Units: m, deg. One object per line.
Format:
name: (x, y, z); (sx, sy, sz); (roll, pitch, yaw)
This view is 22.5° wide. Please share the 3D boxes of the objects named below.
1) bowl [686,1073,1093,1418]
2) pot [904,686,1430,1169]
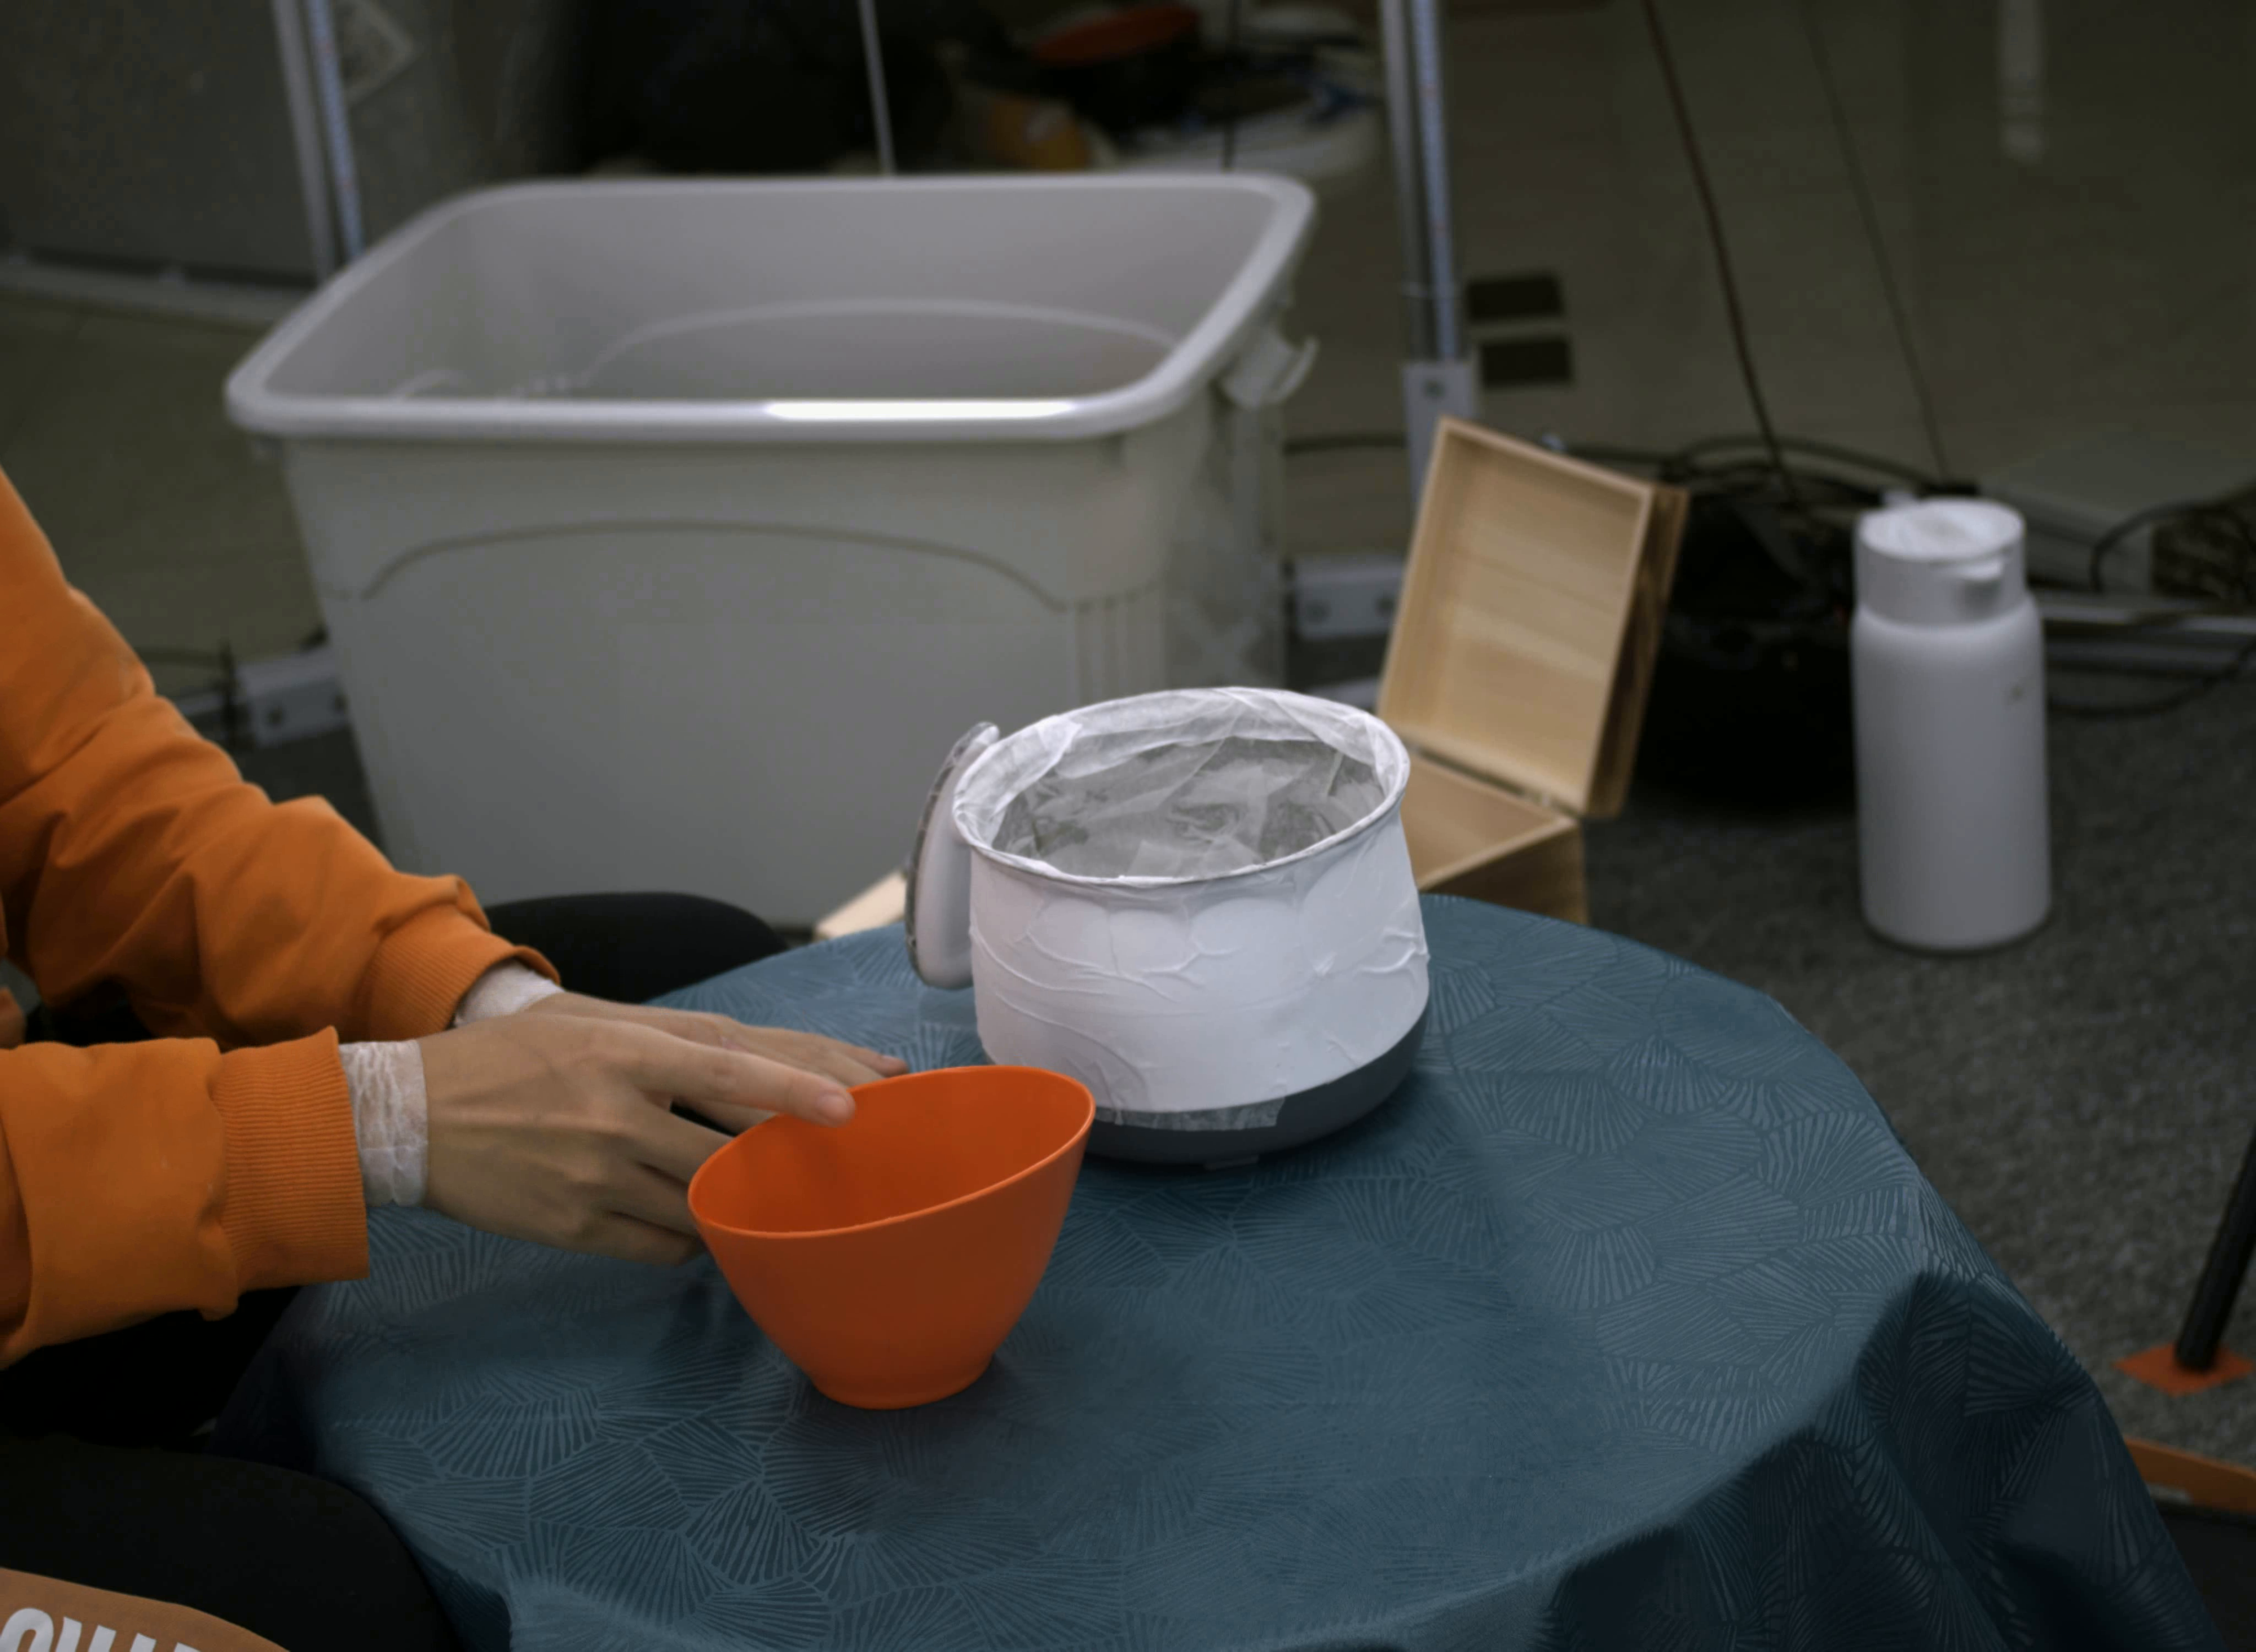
bowl: (-0.080, 0.153, 2.020); (0.148, 0.106, 0.146); (-6, 25, 3)
pot: (0.004, 0.035, 2.203); (0.232, 0.139, 0.177); (14, 31, 35)
